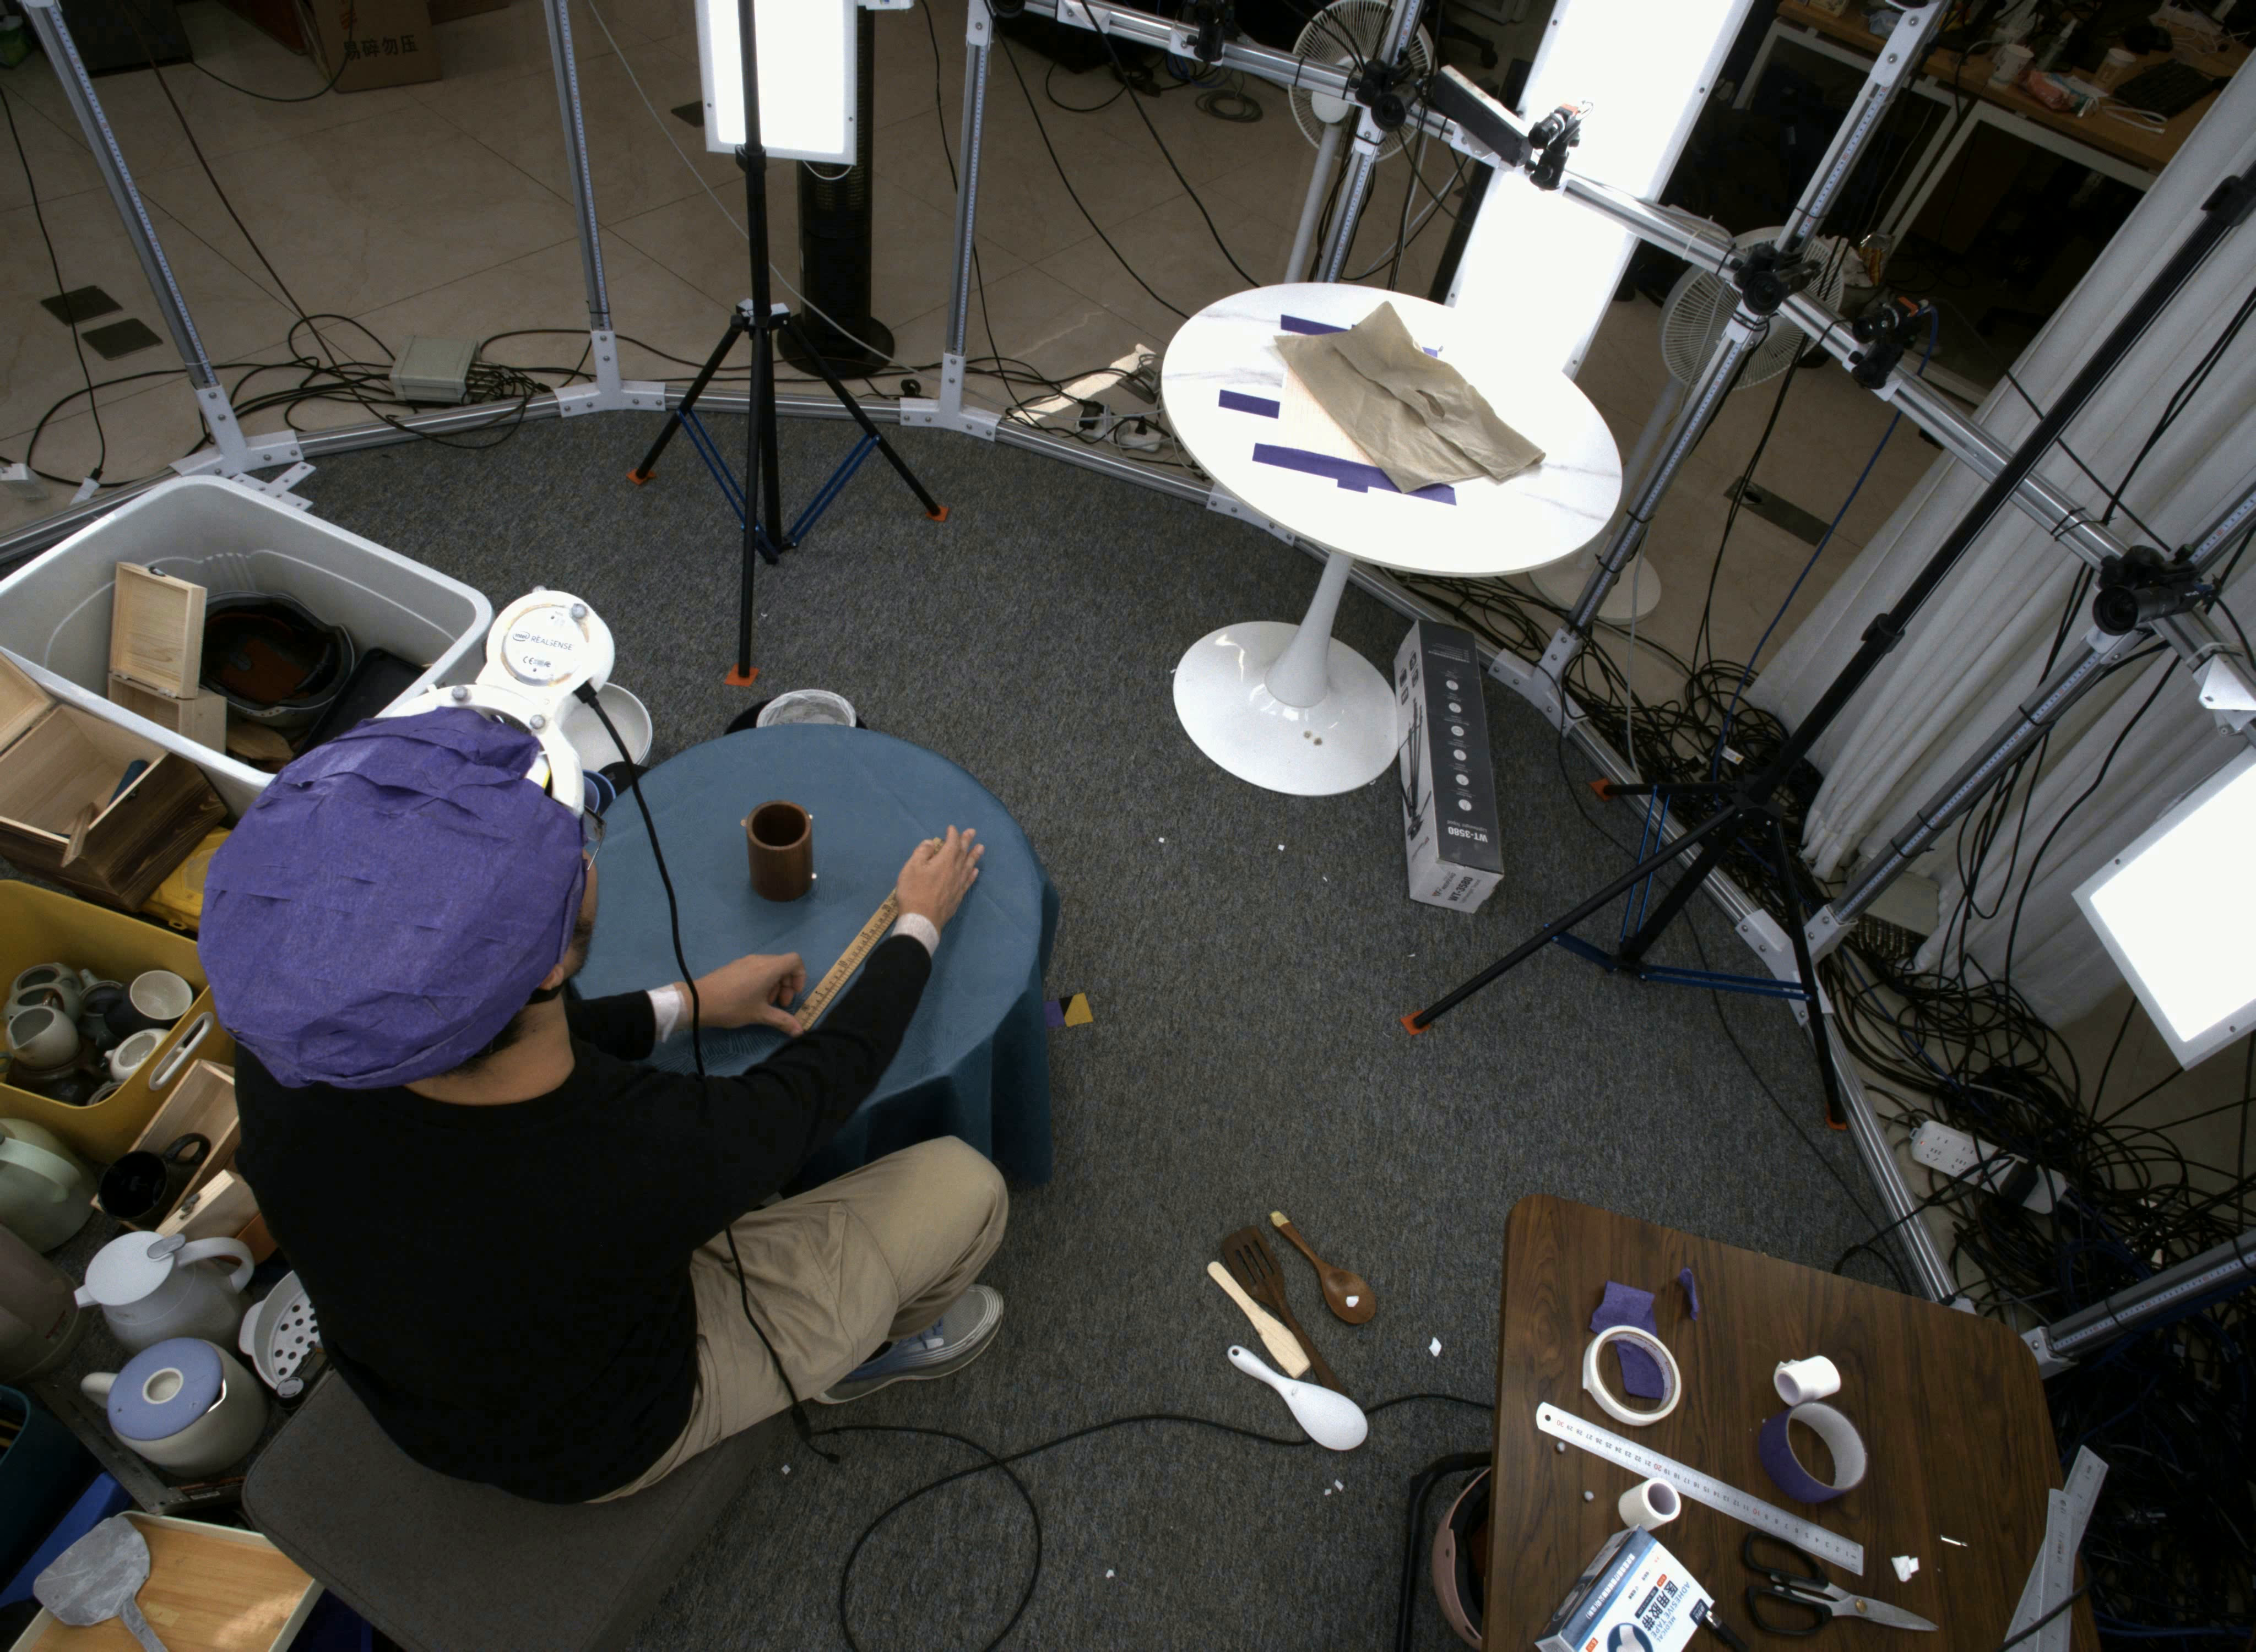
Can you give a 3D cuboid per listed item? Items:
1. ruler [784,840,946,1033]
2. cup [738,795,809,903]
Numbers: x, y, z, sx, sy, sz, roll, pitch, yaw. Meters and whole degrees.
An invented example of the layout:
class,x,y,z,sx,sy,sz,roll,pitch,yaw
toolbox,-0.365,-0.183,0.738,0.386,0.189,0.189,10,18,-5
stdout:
class,x,y,z,sx,sy,sz,roll,pitch,yaw
ruler,-0.327,0.129,1.642,0.027,0.023,0.330,23,51,14
cup,-0.440,0.028,1.618,0.087,0.121,0.086,6,51,-6
